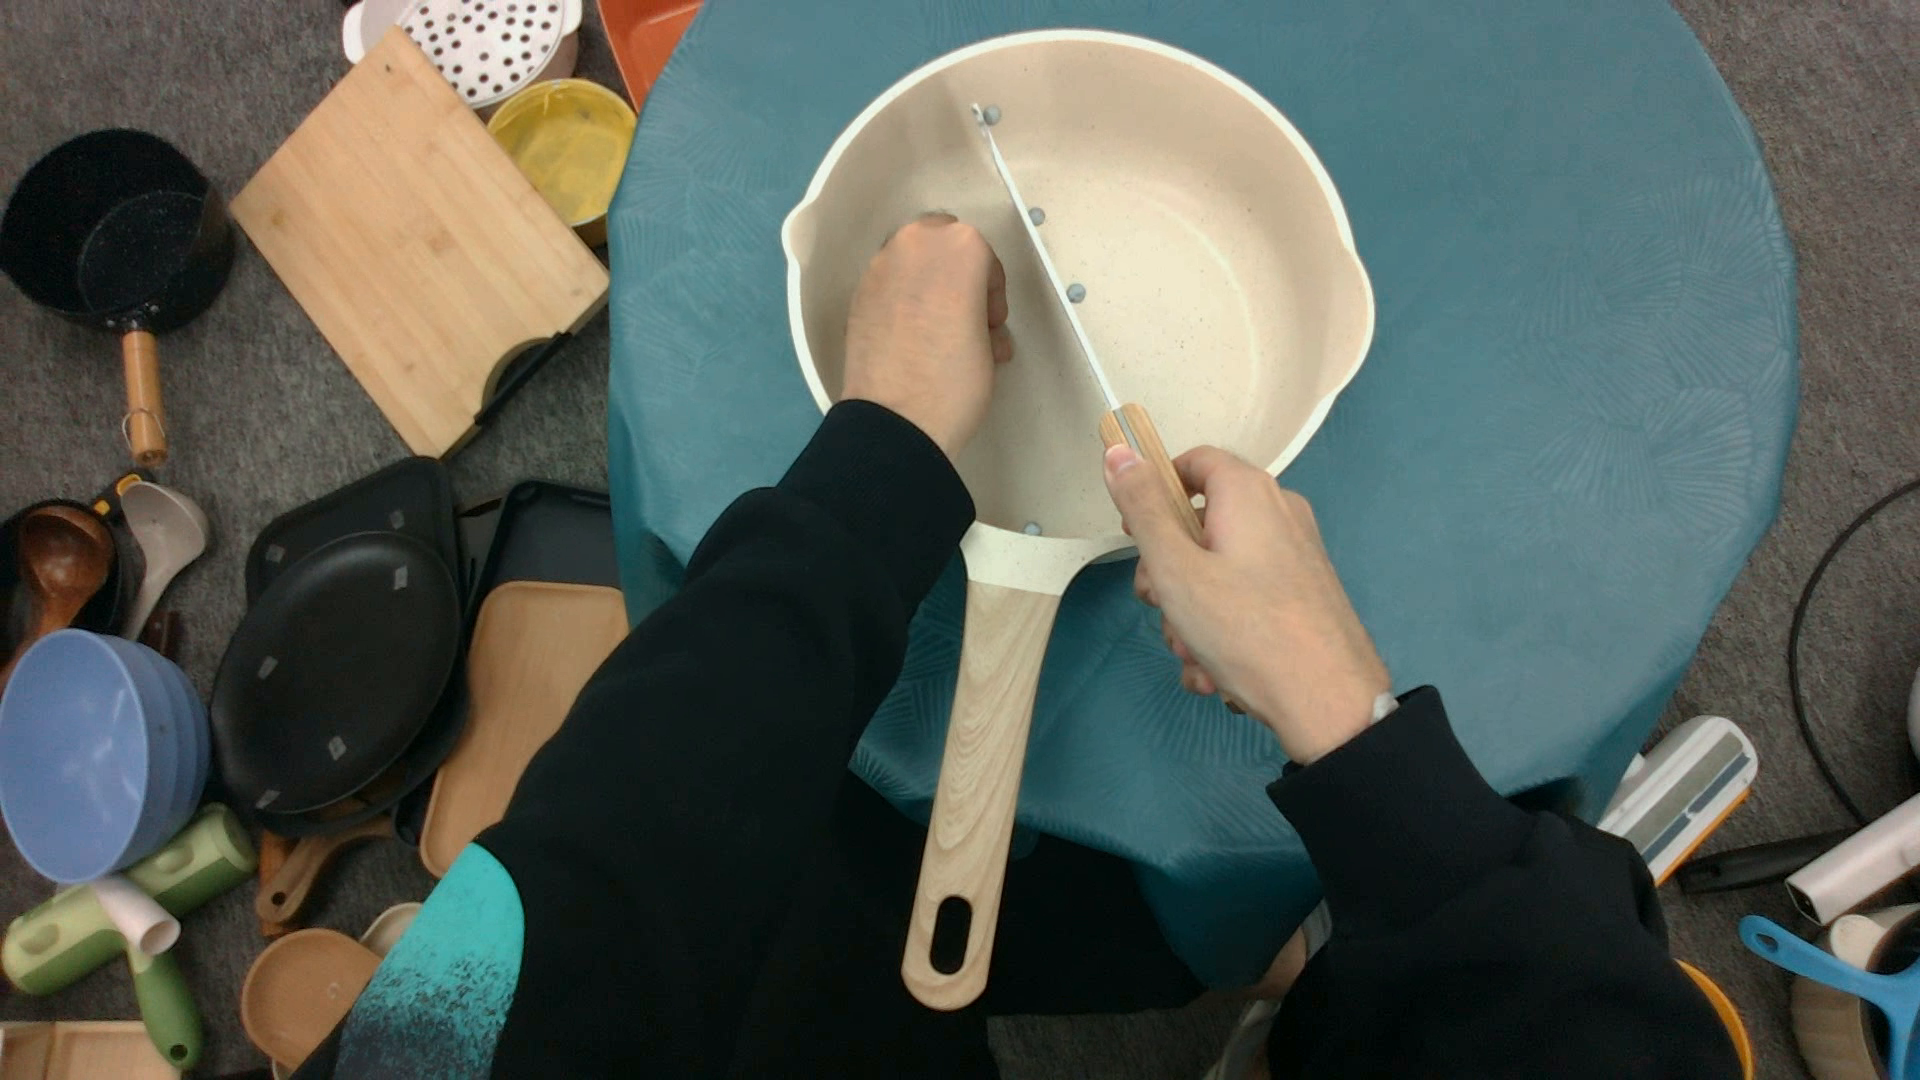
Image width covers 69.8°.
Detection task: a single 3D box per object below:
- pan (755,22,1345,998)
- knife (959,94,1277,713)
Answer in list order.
[{"bbox_3d":[0.024,-0.026,0.612,0.263,0.101,0.436,9,73,1],"label":"pan"},{"bbox_3d":[0.060,-0.067,0.588,0.022,0.114,0.316,-26,61,8],"label":"knife"}]
